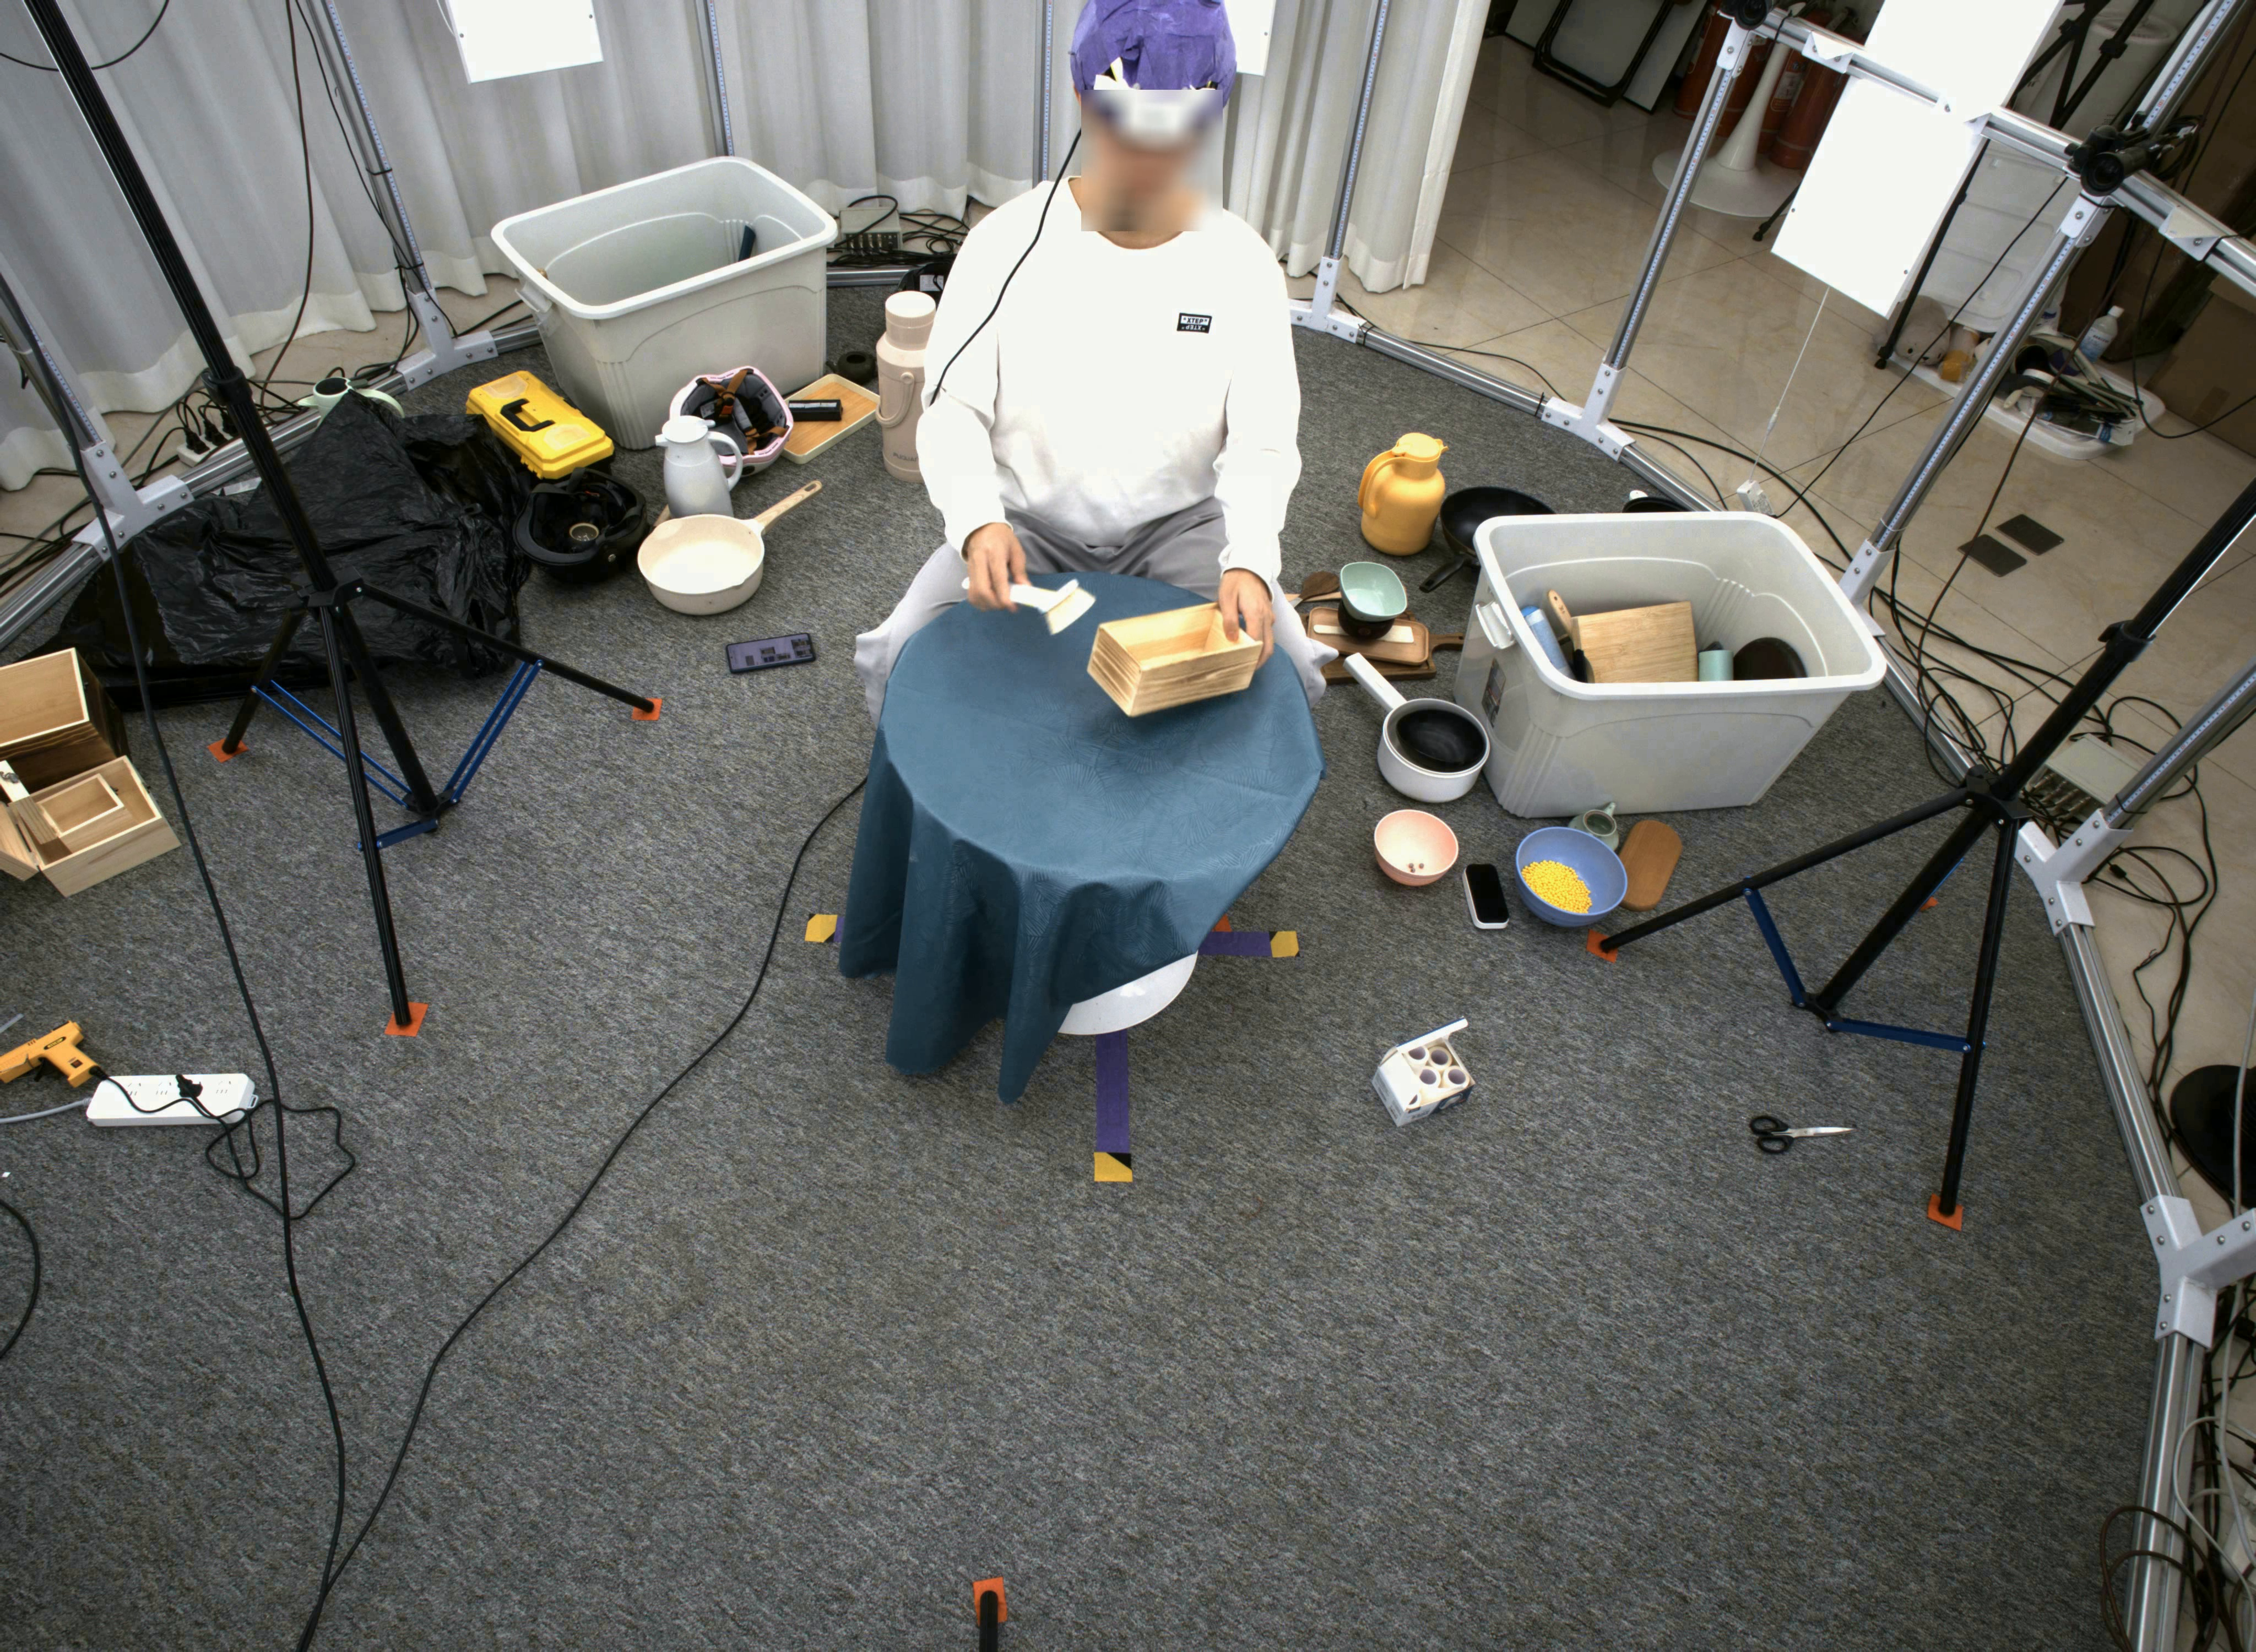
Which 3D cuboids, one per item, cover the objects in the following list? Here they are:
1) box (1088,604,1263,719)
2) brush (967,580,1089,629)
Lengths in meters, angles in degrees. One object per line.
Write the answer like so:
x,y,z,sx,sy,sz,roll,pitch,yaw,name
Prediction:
0.066,-0.229,1.761,0.212,0.078,0.109,-18,50,-34,box
-0.143,-0.306,1.762,0.069,0.055,0.269,-29,24,-27,brush
